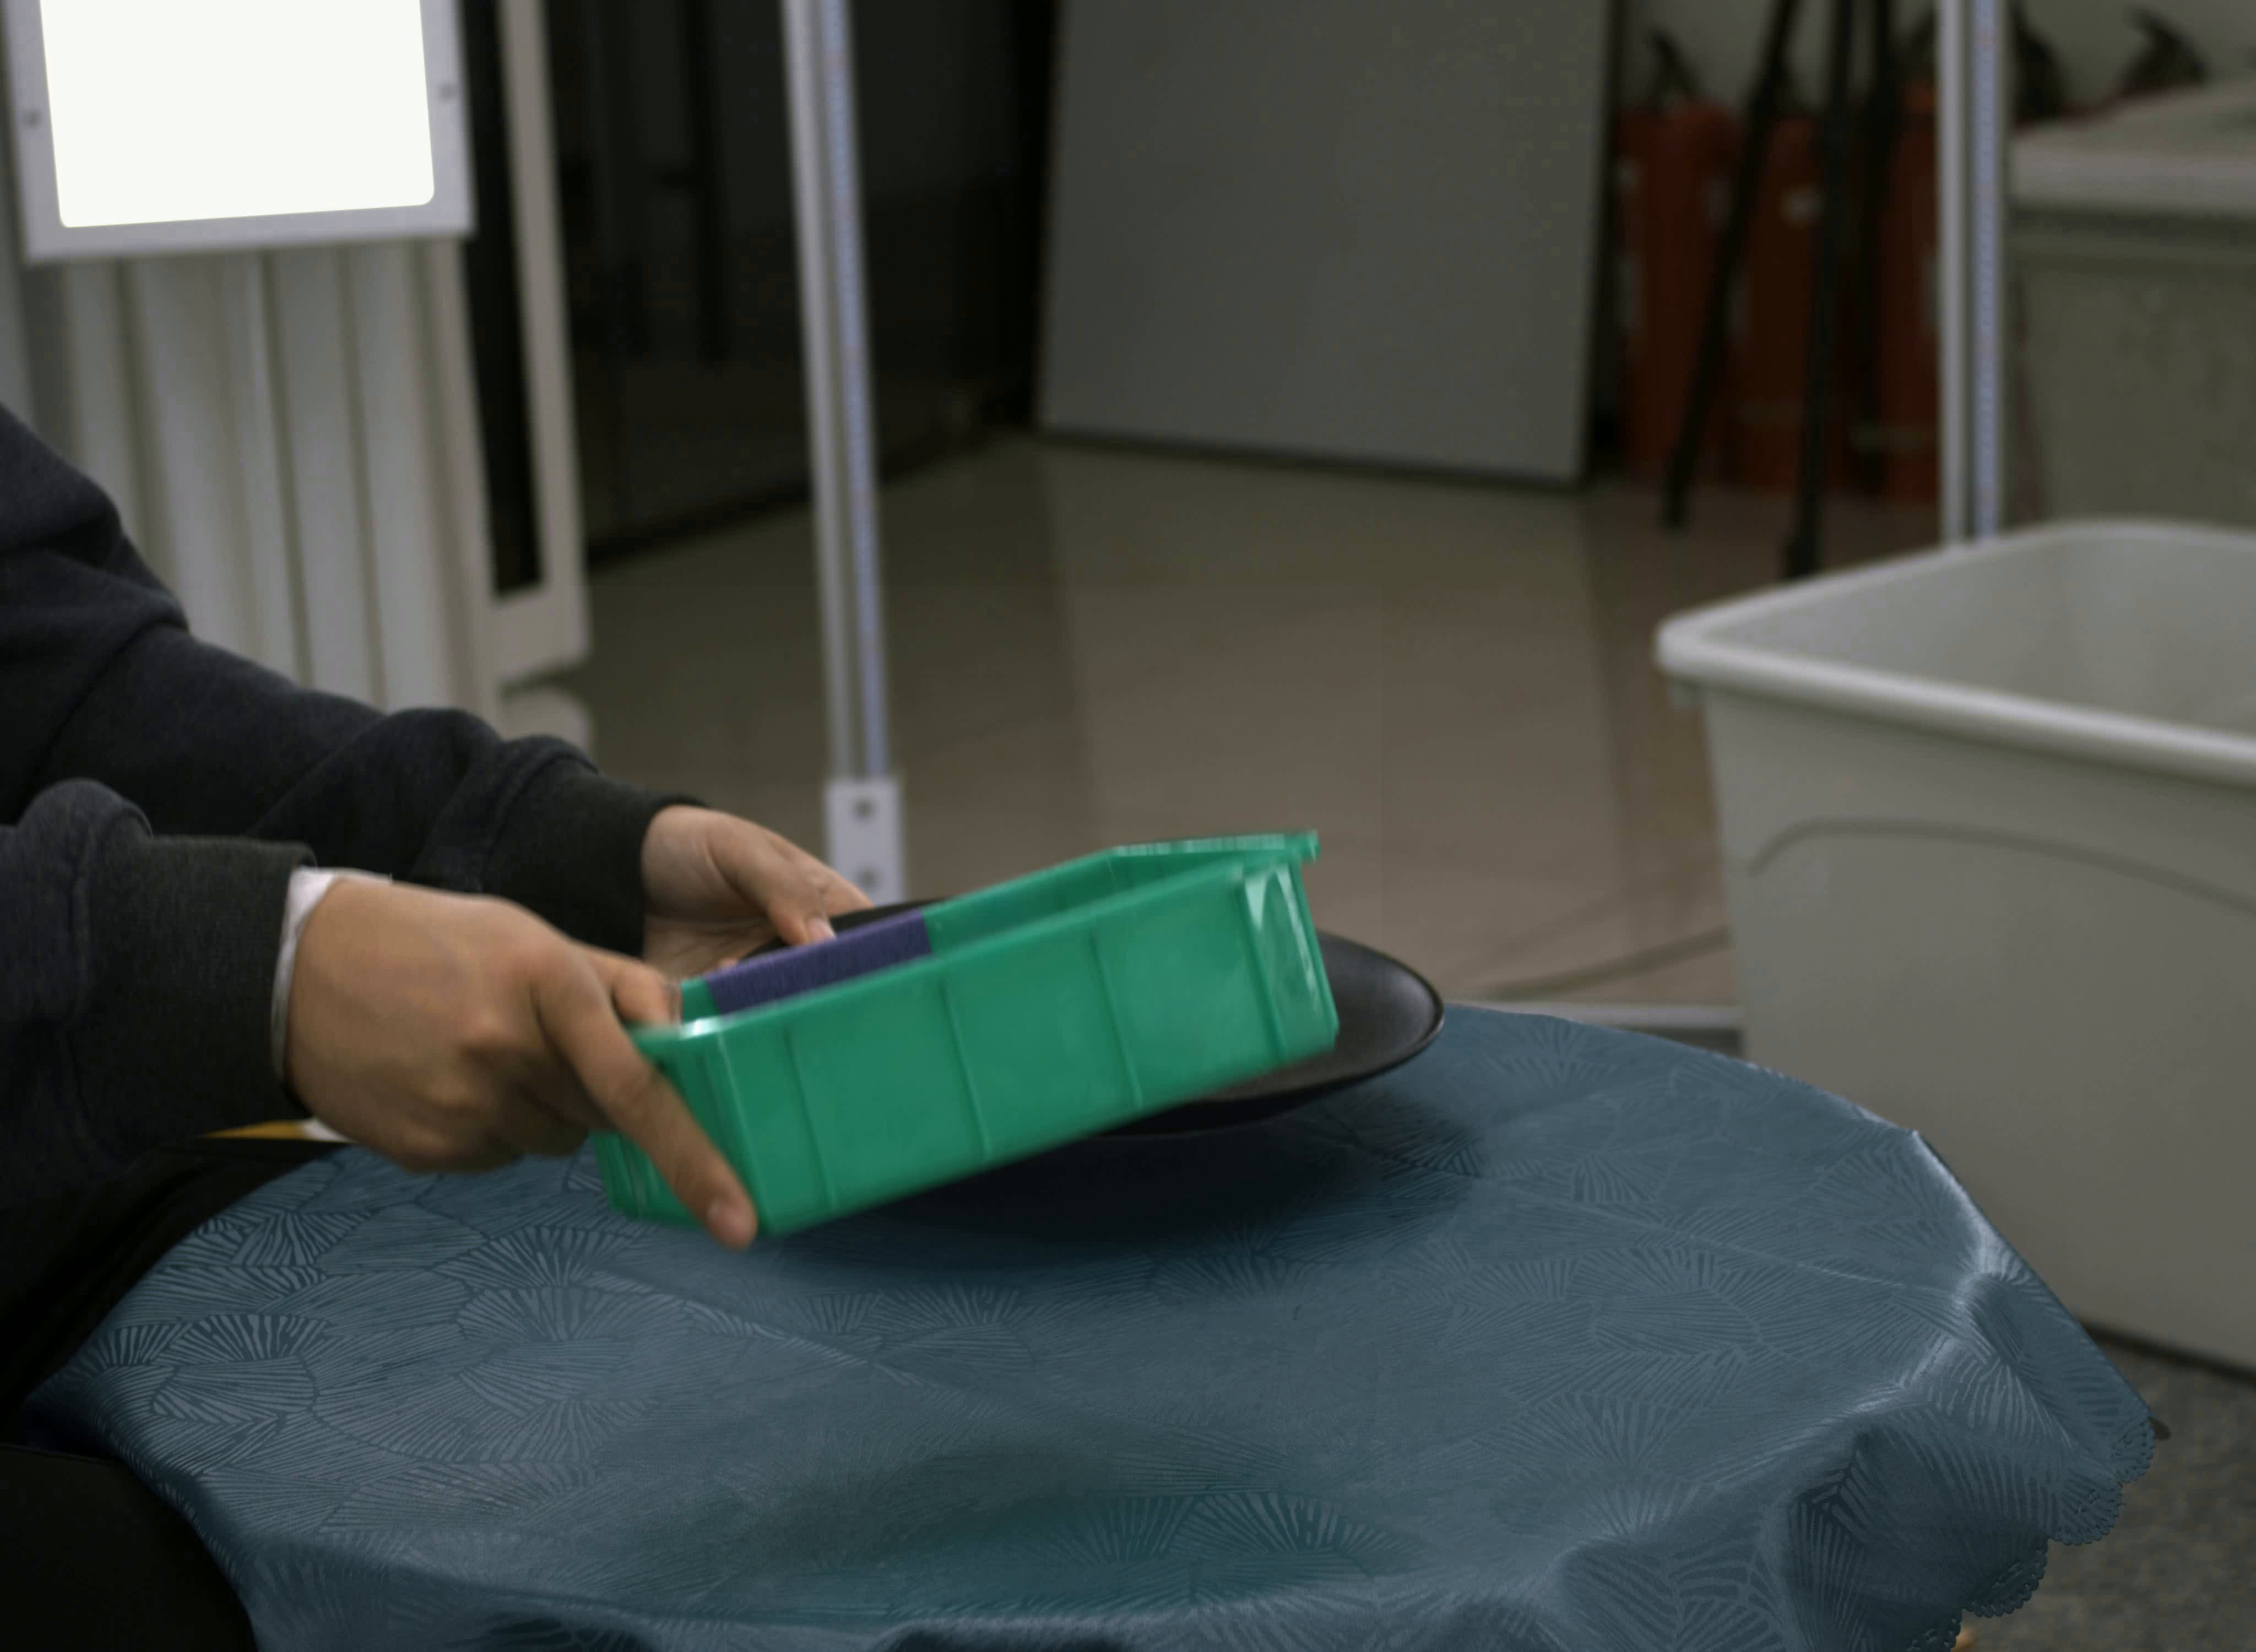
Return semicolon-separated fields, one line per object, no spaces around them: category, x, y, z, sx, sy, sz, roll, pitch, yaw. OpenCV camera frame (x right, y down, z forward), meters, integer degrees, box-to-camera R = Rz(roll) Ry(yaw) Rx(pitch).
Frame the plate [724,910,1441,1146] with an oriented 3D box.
plate;-0.015;0.069;1.808;0.241;0.024;0.245;1;15;-1

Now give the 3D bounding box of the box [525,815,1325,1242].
box;-0.052;0.058;1.508;0.206;0.066;0.140;-19;4;-24
